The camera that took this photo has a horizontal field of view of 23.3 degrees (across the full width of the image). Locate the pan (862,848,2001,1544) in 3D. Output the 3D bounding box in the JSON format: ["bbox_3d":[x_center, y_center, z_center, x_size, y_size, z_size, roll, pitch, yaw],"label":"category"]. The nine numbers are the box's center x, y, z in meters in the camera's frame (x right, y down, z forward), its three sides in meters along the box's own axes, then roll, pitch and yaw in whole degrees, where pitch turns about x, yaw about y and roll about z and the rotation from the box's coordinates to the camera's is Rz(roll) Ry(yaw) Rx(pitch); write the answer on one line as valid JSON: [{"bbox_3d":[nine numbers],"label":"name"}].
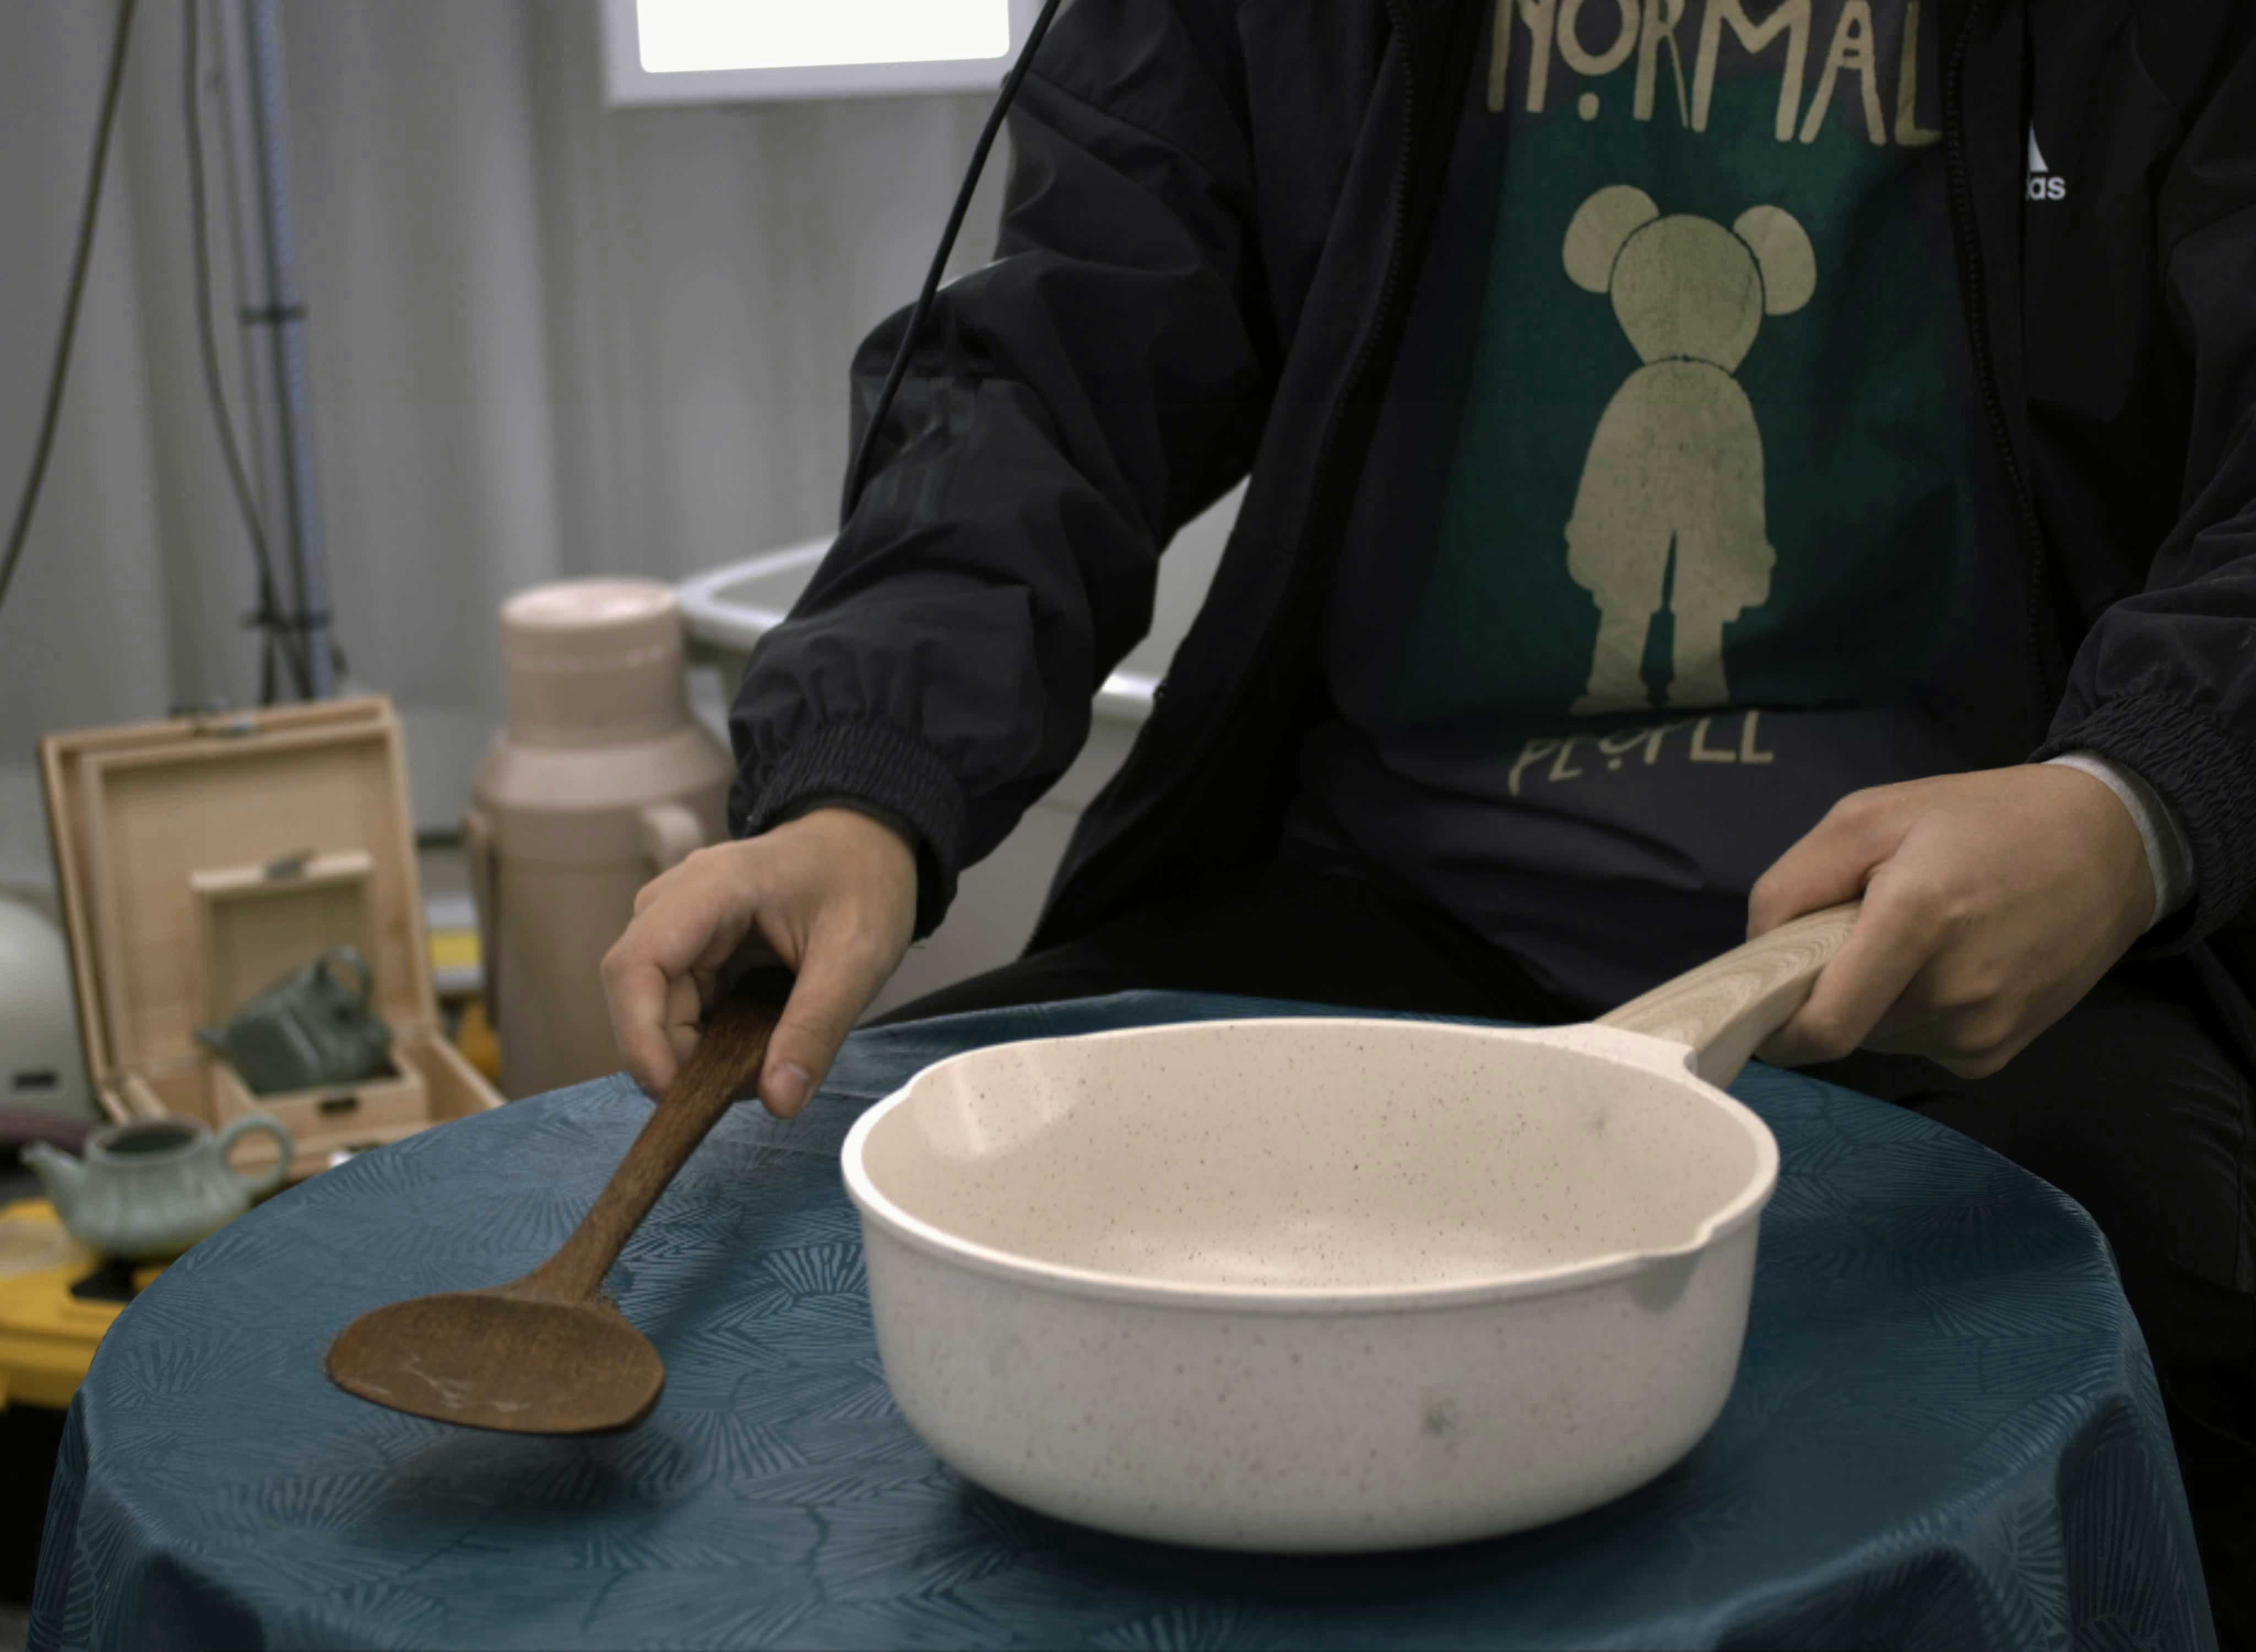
[{"bbox_3d":[0.117,0.098,1.531,0.264,0.101,0.434,10,17,42],"label":"pan"}]

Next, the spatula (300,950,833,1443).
[{"bbox_3d":[-0.146,0.103,1.643,0.096,0.015,0.388,9,20,9],"label":"spatula"}]
